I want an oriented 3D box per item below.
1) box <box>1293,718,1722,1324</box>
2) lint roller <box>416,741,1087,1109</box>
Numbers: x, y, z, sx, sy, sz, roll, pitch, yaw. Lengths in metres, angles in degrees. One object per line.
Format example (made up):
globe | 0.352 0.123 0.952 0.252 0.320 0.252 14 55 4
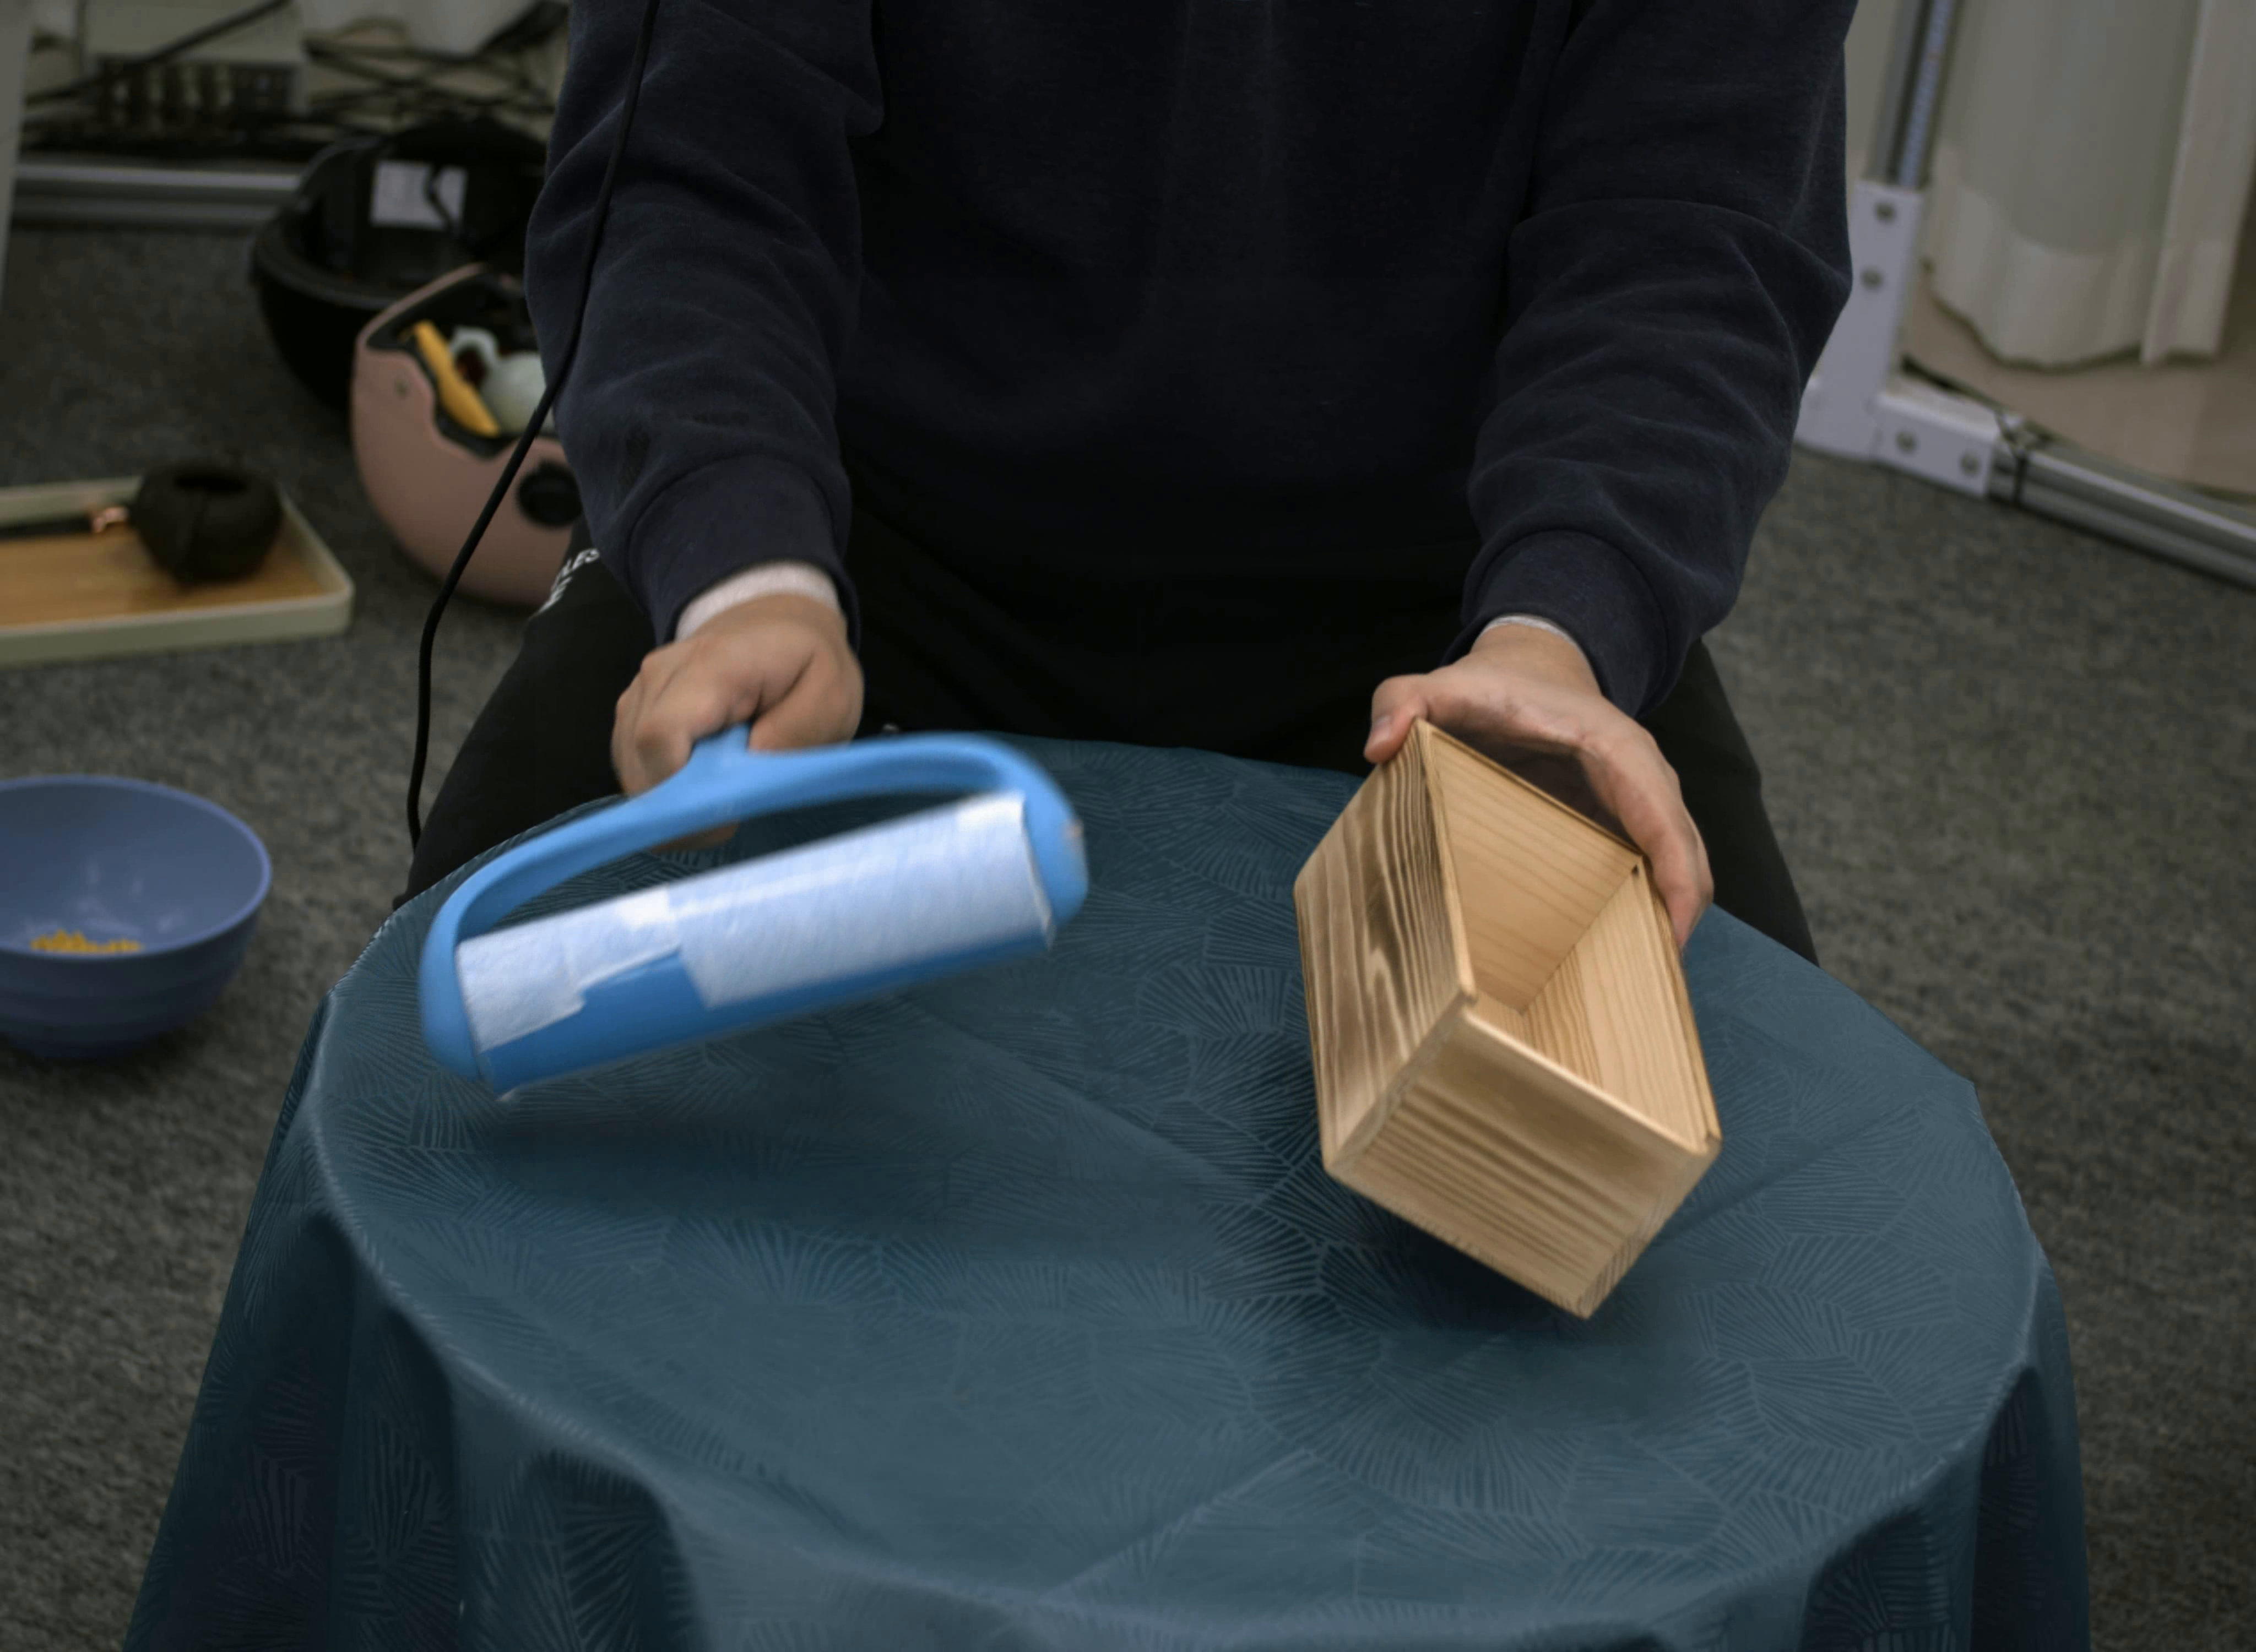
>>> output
box | 0.125 0.063 1.813 0.107 0.080 0.213 30 22 -15
lint roller | -0.136 0.011 1.822 0.228 0.067 0.182 -16 36 0
